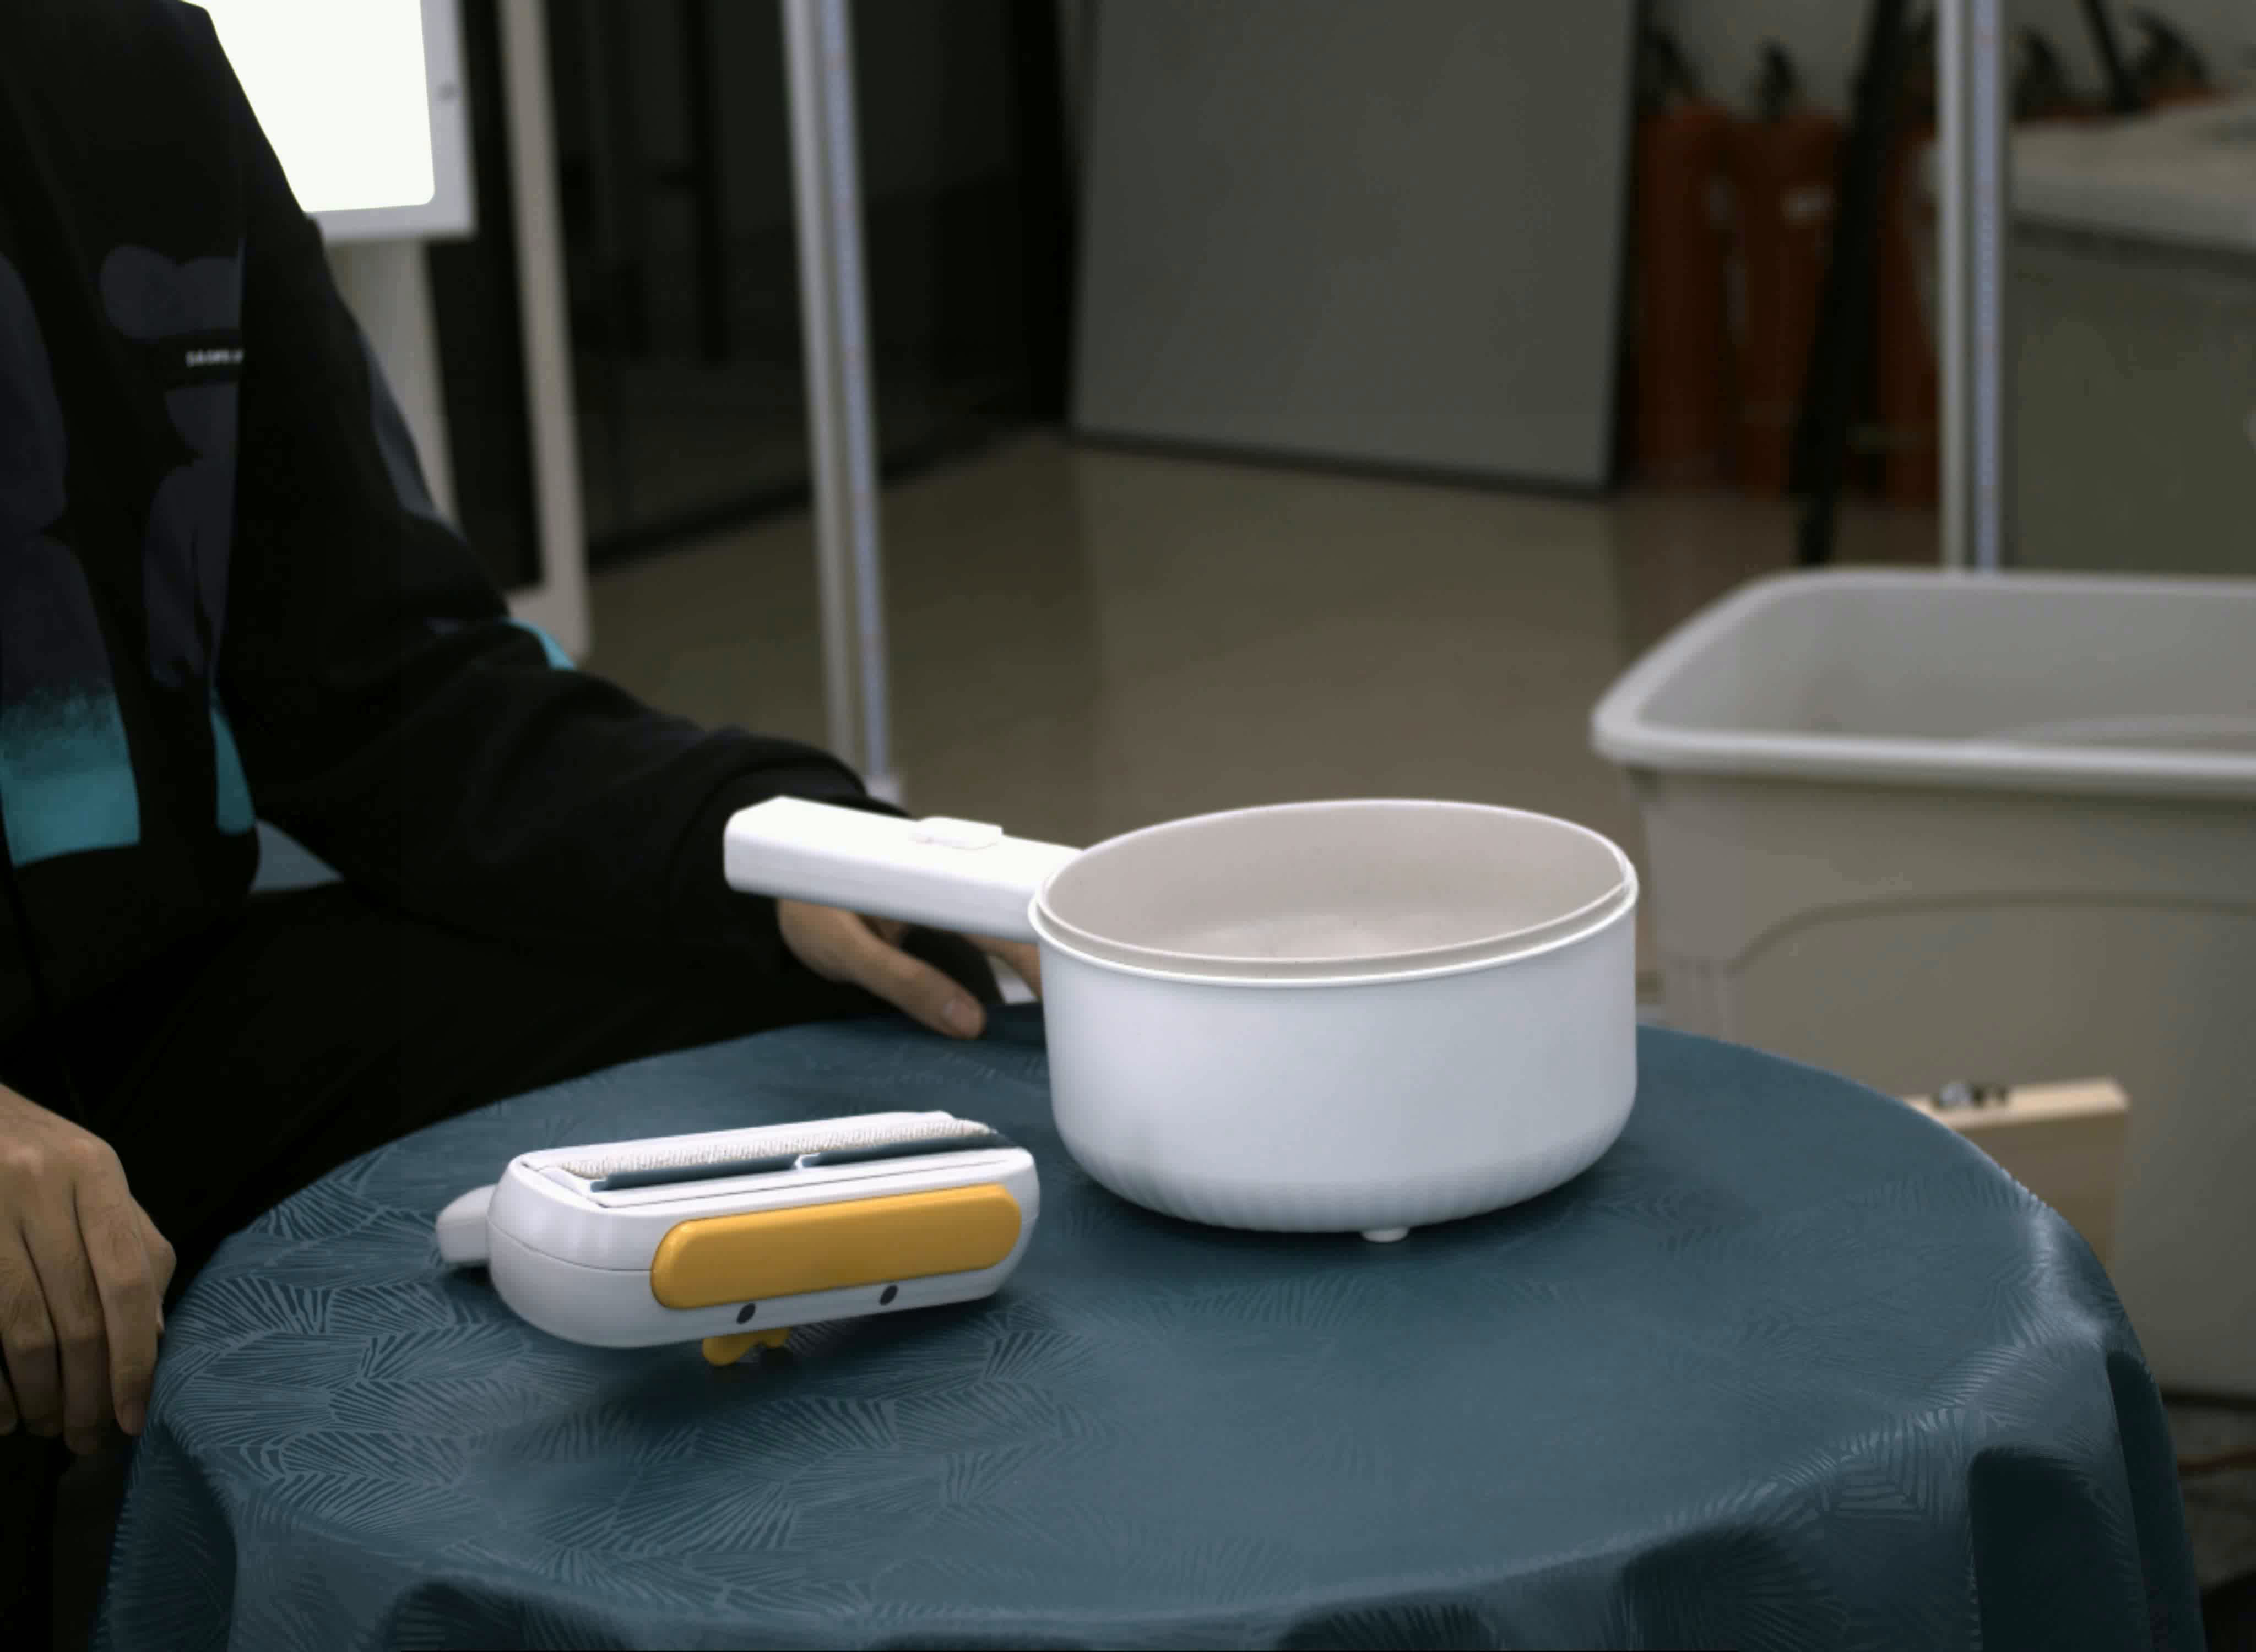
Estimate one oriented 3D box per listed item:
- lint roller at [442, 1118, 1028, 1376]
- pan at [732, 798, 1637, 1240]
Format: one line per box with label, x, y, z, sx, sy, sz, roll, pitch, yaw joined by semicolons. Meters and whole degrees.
lint roller;-0.151;0.121;1.672;0.188;0.075;0.194;-8;12;-39
pan;0.009;0.057;1.815;0.357;0.103;0.197;7;17;39
